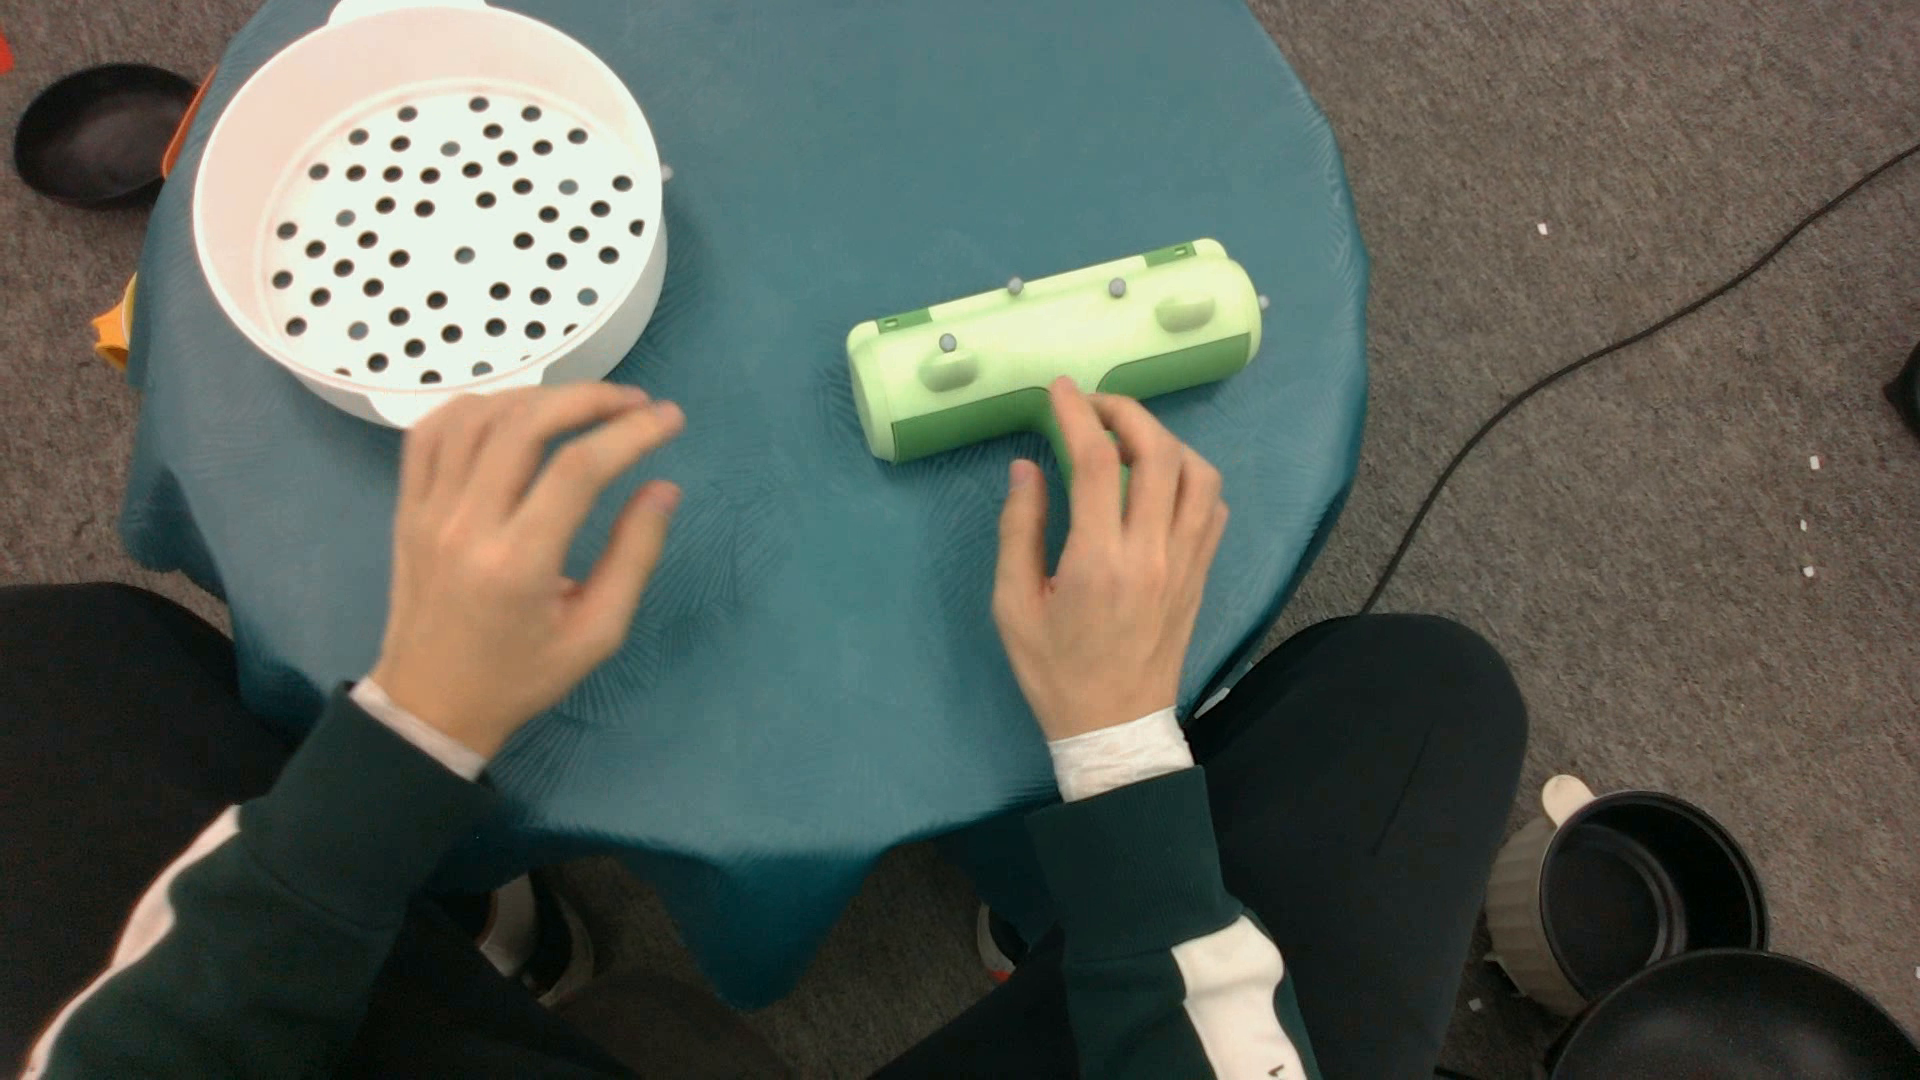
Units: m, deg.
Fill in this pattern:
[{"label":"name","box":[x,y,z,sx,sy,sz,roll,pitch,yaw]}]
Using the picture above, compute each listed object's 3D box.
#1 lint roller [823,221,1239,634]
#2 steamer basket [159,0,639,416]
[{"label":"lint roller","box":[0.054,-0.050,0.635,0.199,0.082,0.183,-16,71,-11]},{"label":"steamer basket","box":[-0.251,-0.155,0.638,0.202,0.069,0.231,-12,73,-11]}]
